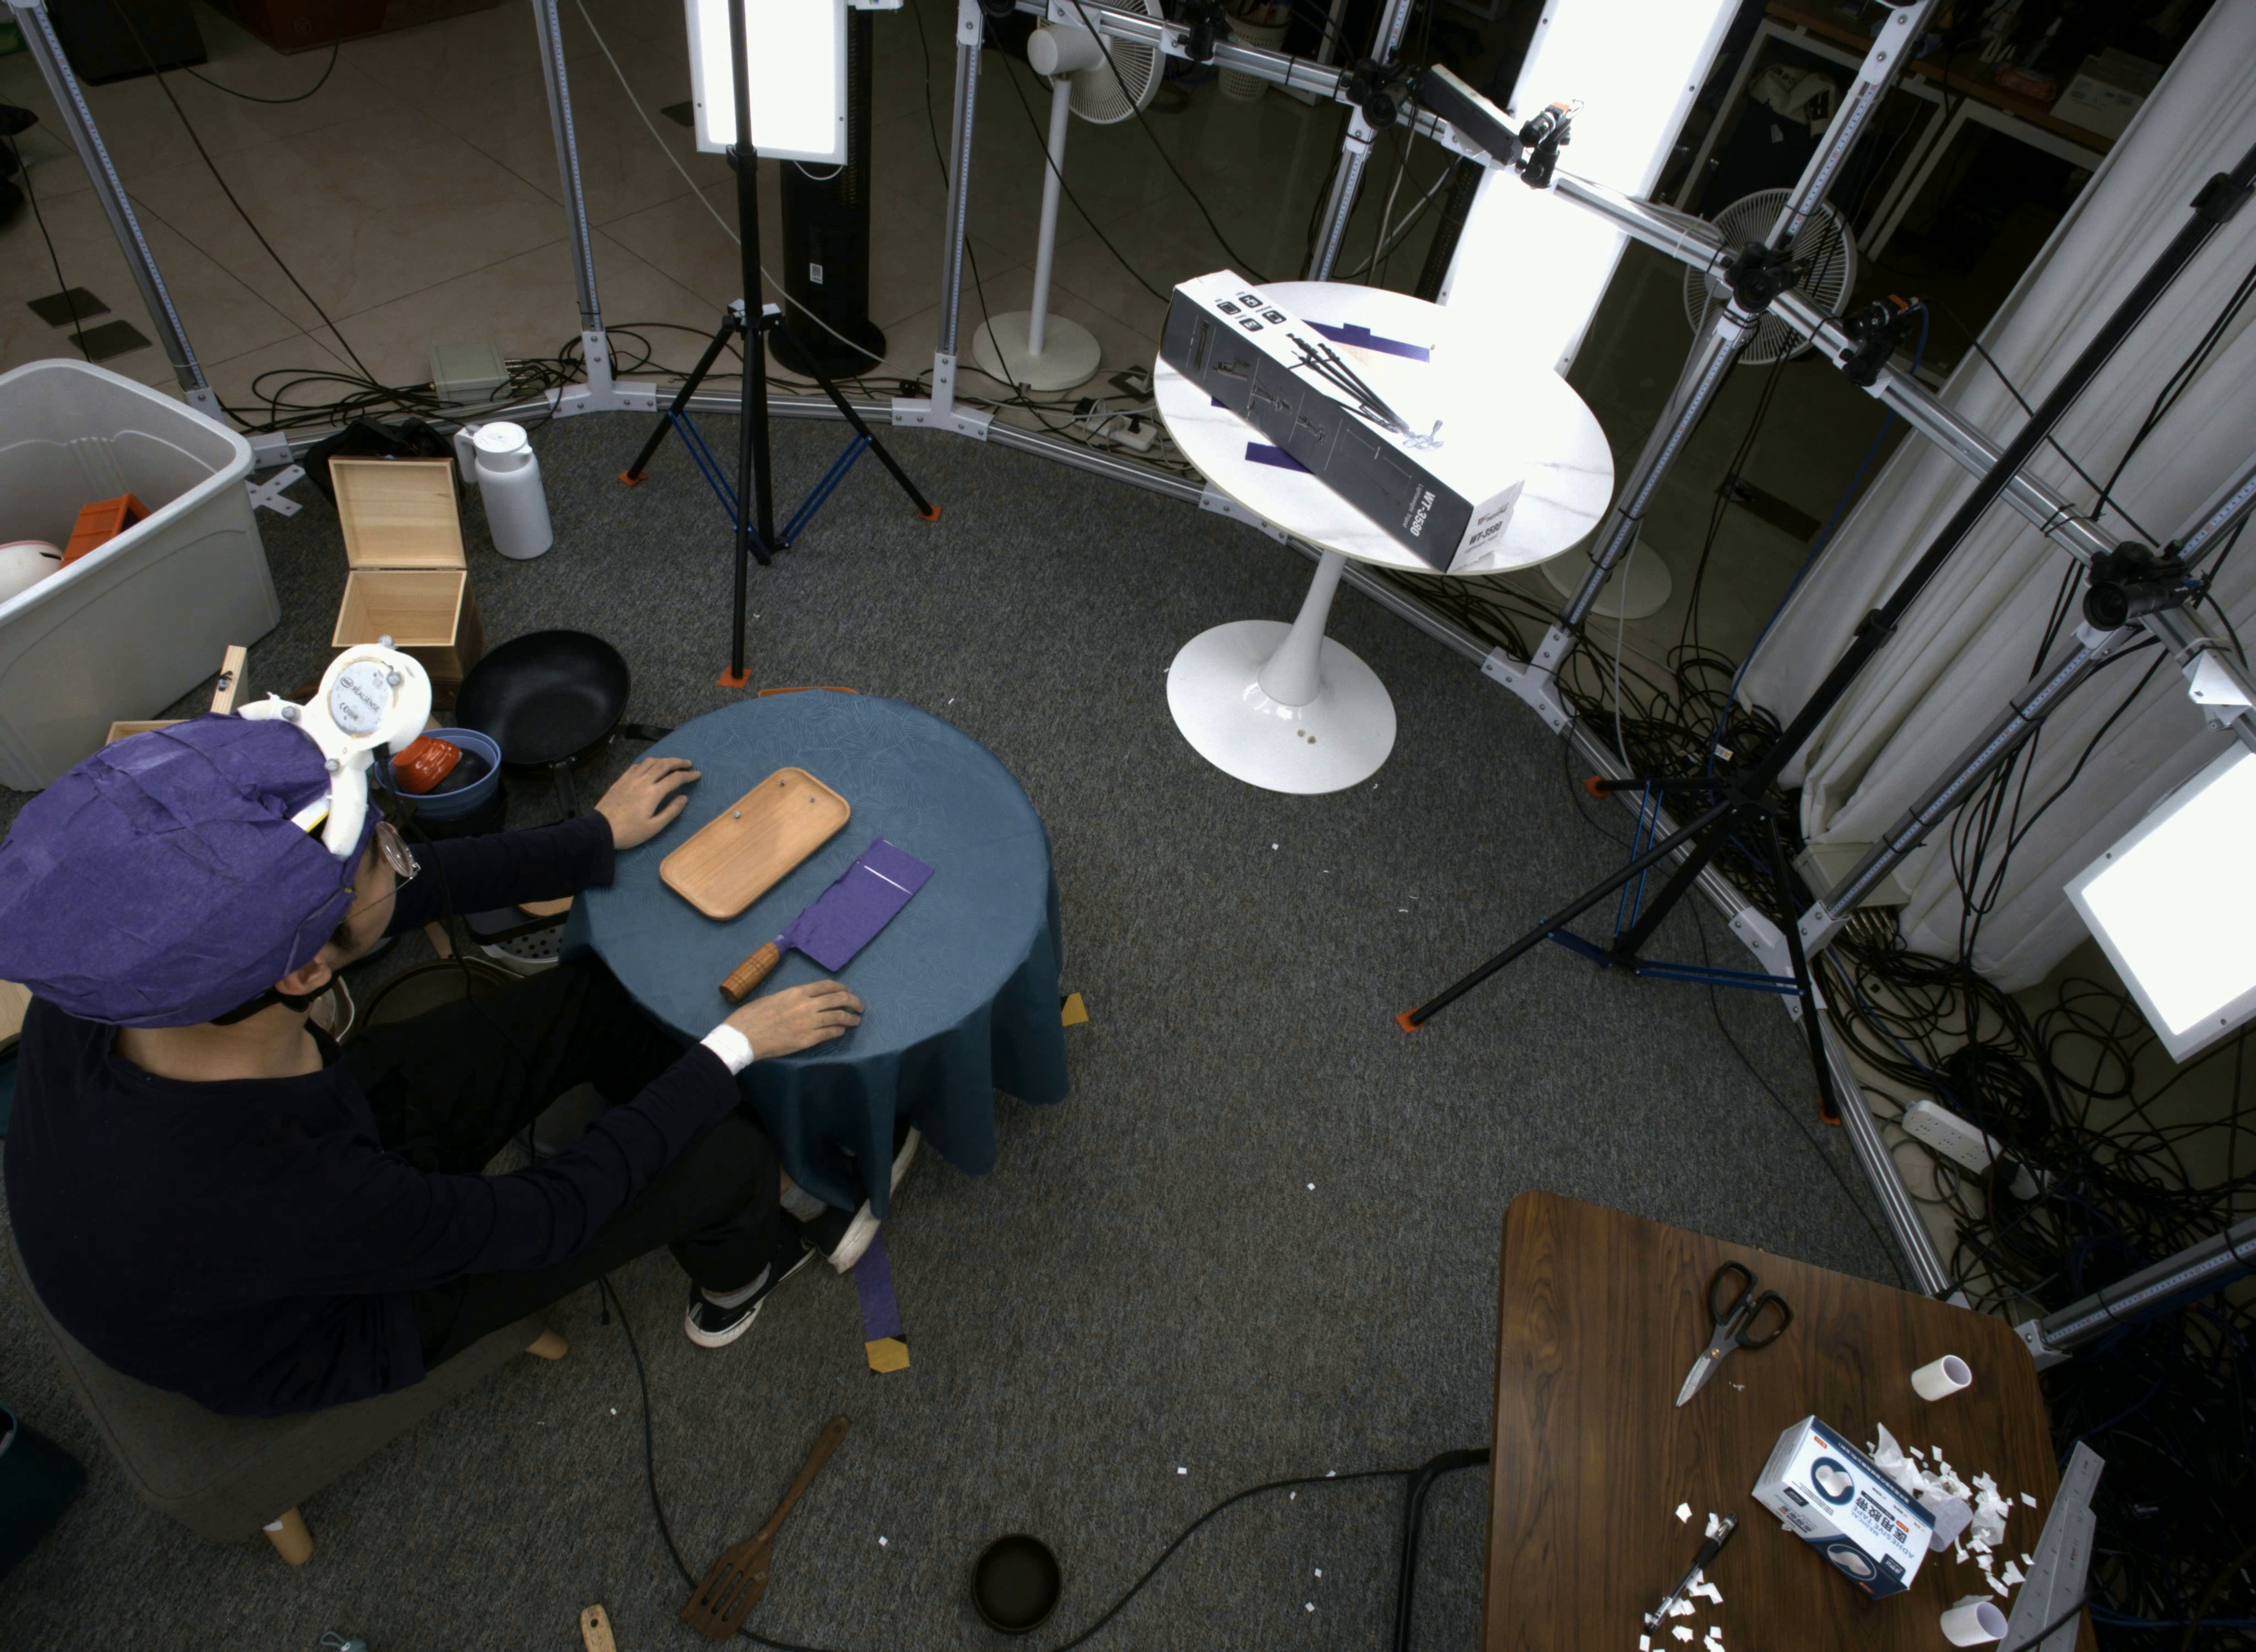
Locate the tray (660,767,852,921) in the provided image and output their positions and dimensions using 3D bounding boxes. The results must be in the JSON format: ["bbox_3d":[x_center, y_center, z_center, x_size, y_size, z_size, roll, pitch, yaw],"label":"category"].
[{"bbox_3d":[-0.485,0.020,1.695,0.127,0.023,0.250,36,55,16],"label":"tray"}]

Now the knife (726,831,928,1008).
[{"bbox_3d":[-0.371,0.123,1.640,0.102,0.033,0.314,31,52,10],"label":"knife"}]
